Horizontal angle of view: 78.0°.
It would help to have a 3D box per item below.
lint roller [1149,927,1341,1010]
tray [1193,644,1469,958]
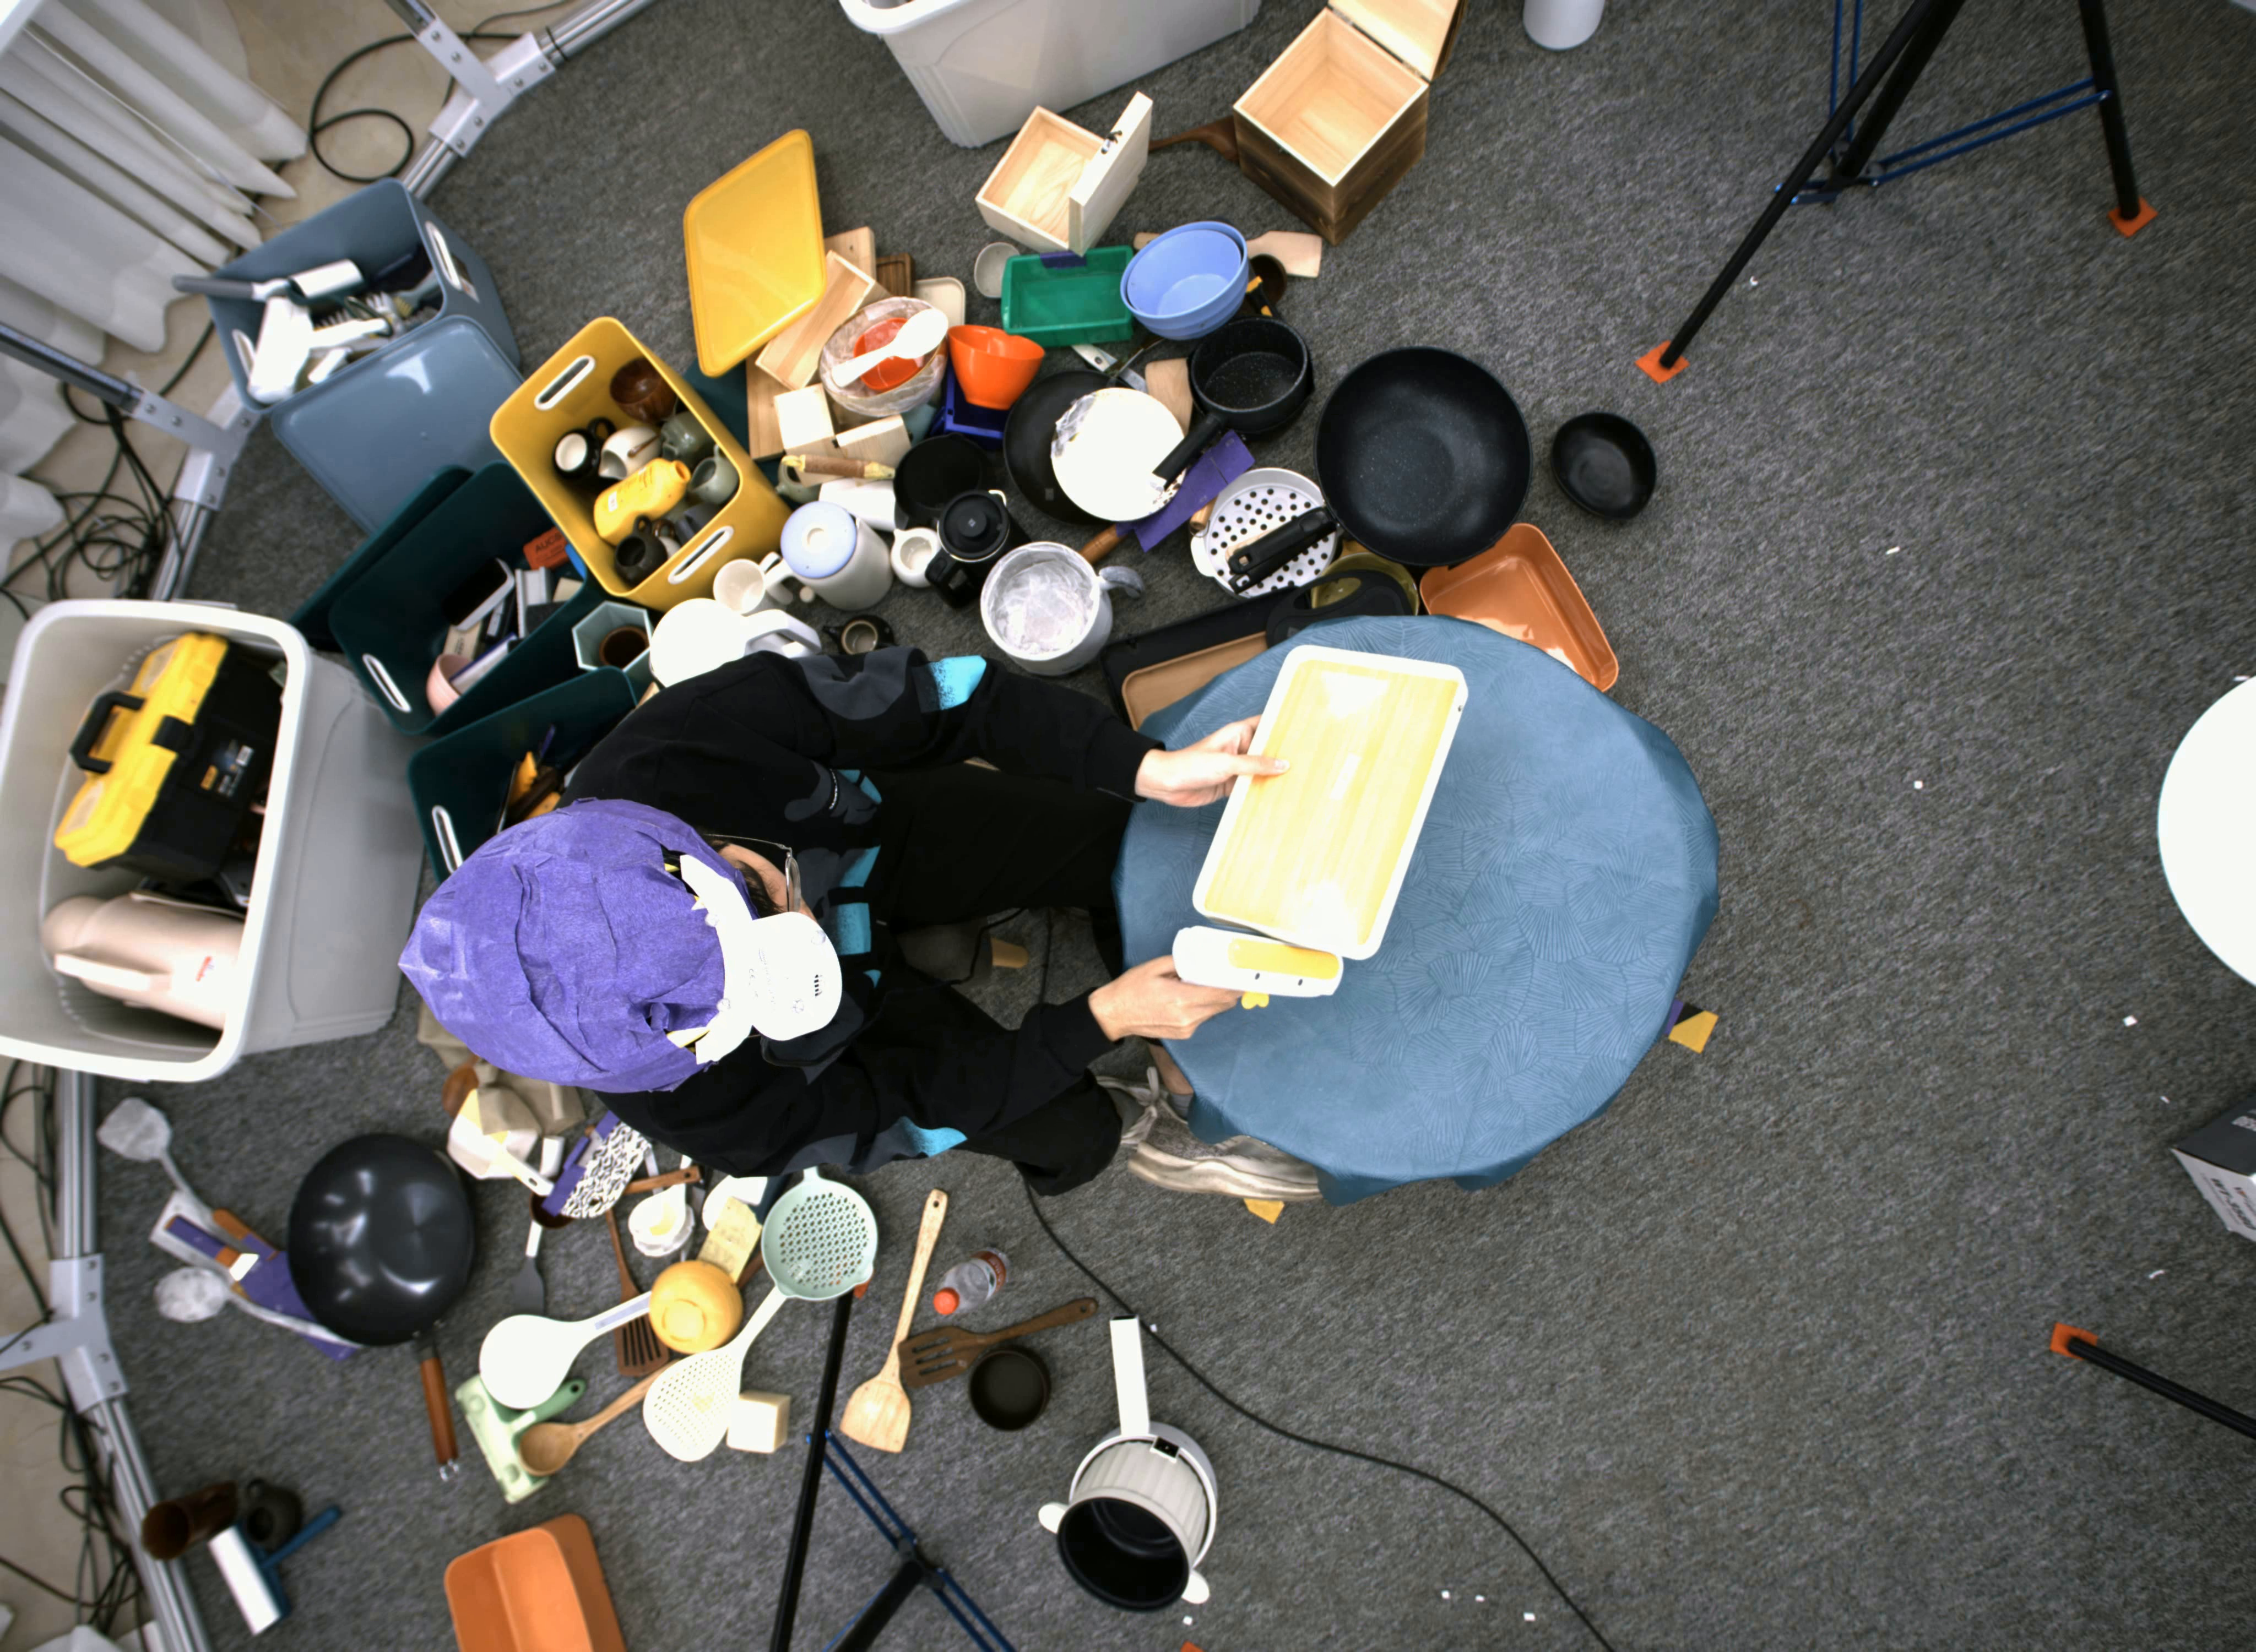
[{"bbox_3d":[0.086,0.145,1.362,0.195,0.192,0.073,-16,73,53],"label":"lint roller"},{"bbox_3d":[0.194,-0.032,1.319,0.192,0.028,0.296,14,75,32],"label":"tray"}]
